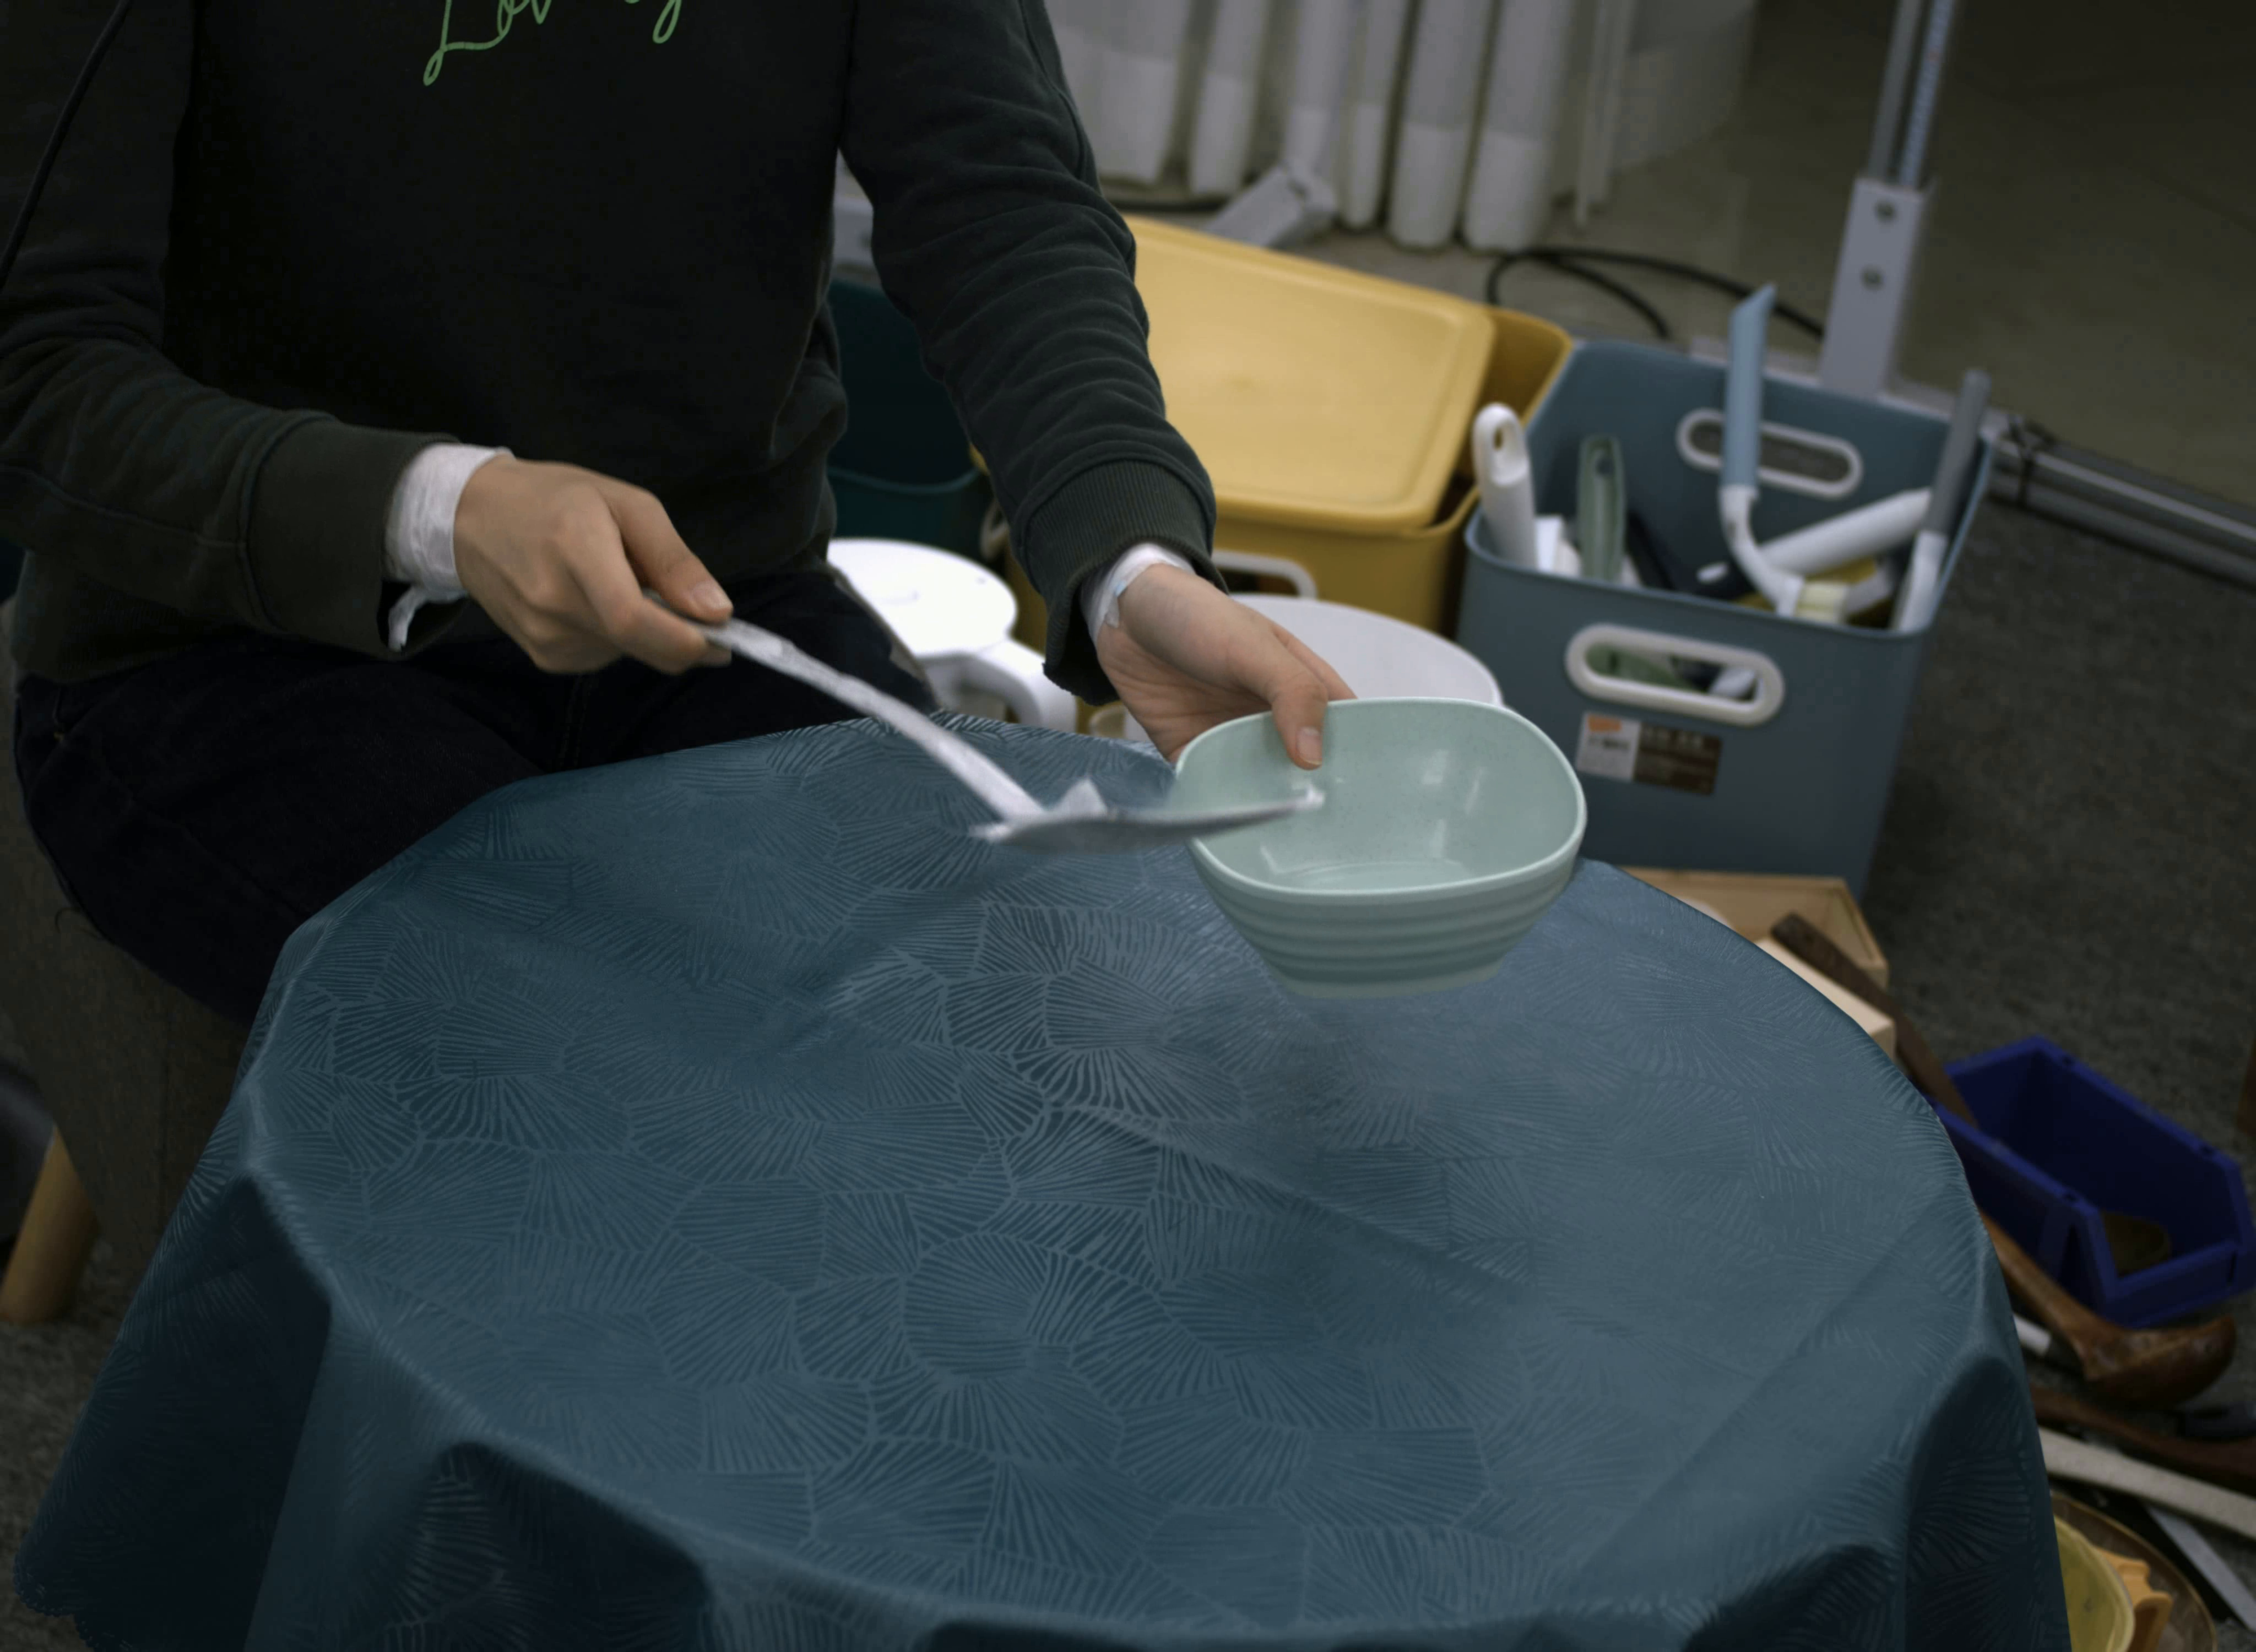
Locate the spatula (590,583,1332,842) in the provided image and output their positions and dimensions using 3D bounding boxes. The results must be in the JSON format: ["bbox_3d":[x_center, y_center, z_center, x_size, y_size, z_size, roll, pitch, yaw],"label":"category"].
[{"bbox_3d":[-0.079,-0.047,1.763,0.098,0.045,0.368,-6,21,-39],"label":"spatula"}]

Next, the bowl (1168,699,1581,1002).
[{"bbox_3d":[0.083,0.014,1.823,0.151,0.058,0.152,0,29,0],"label":"bowl"}]
